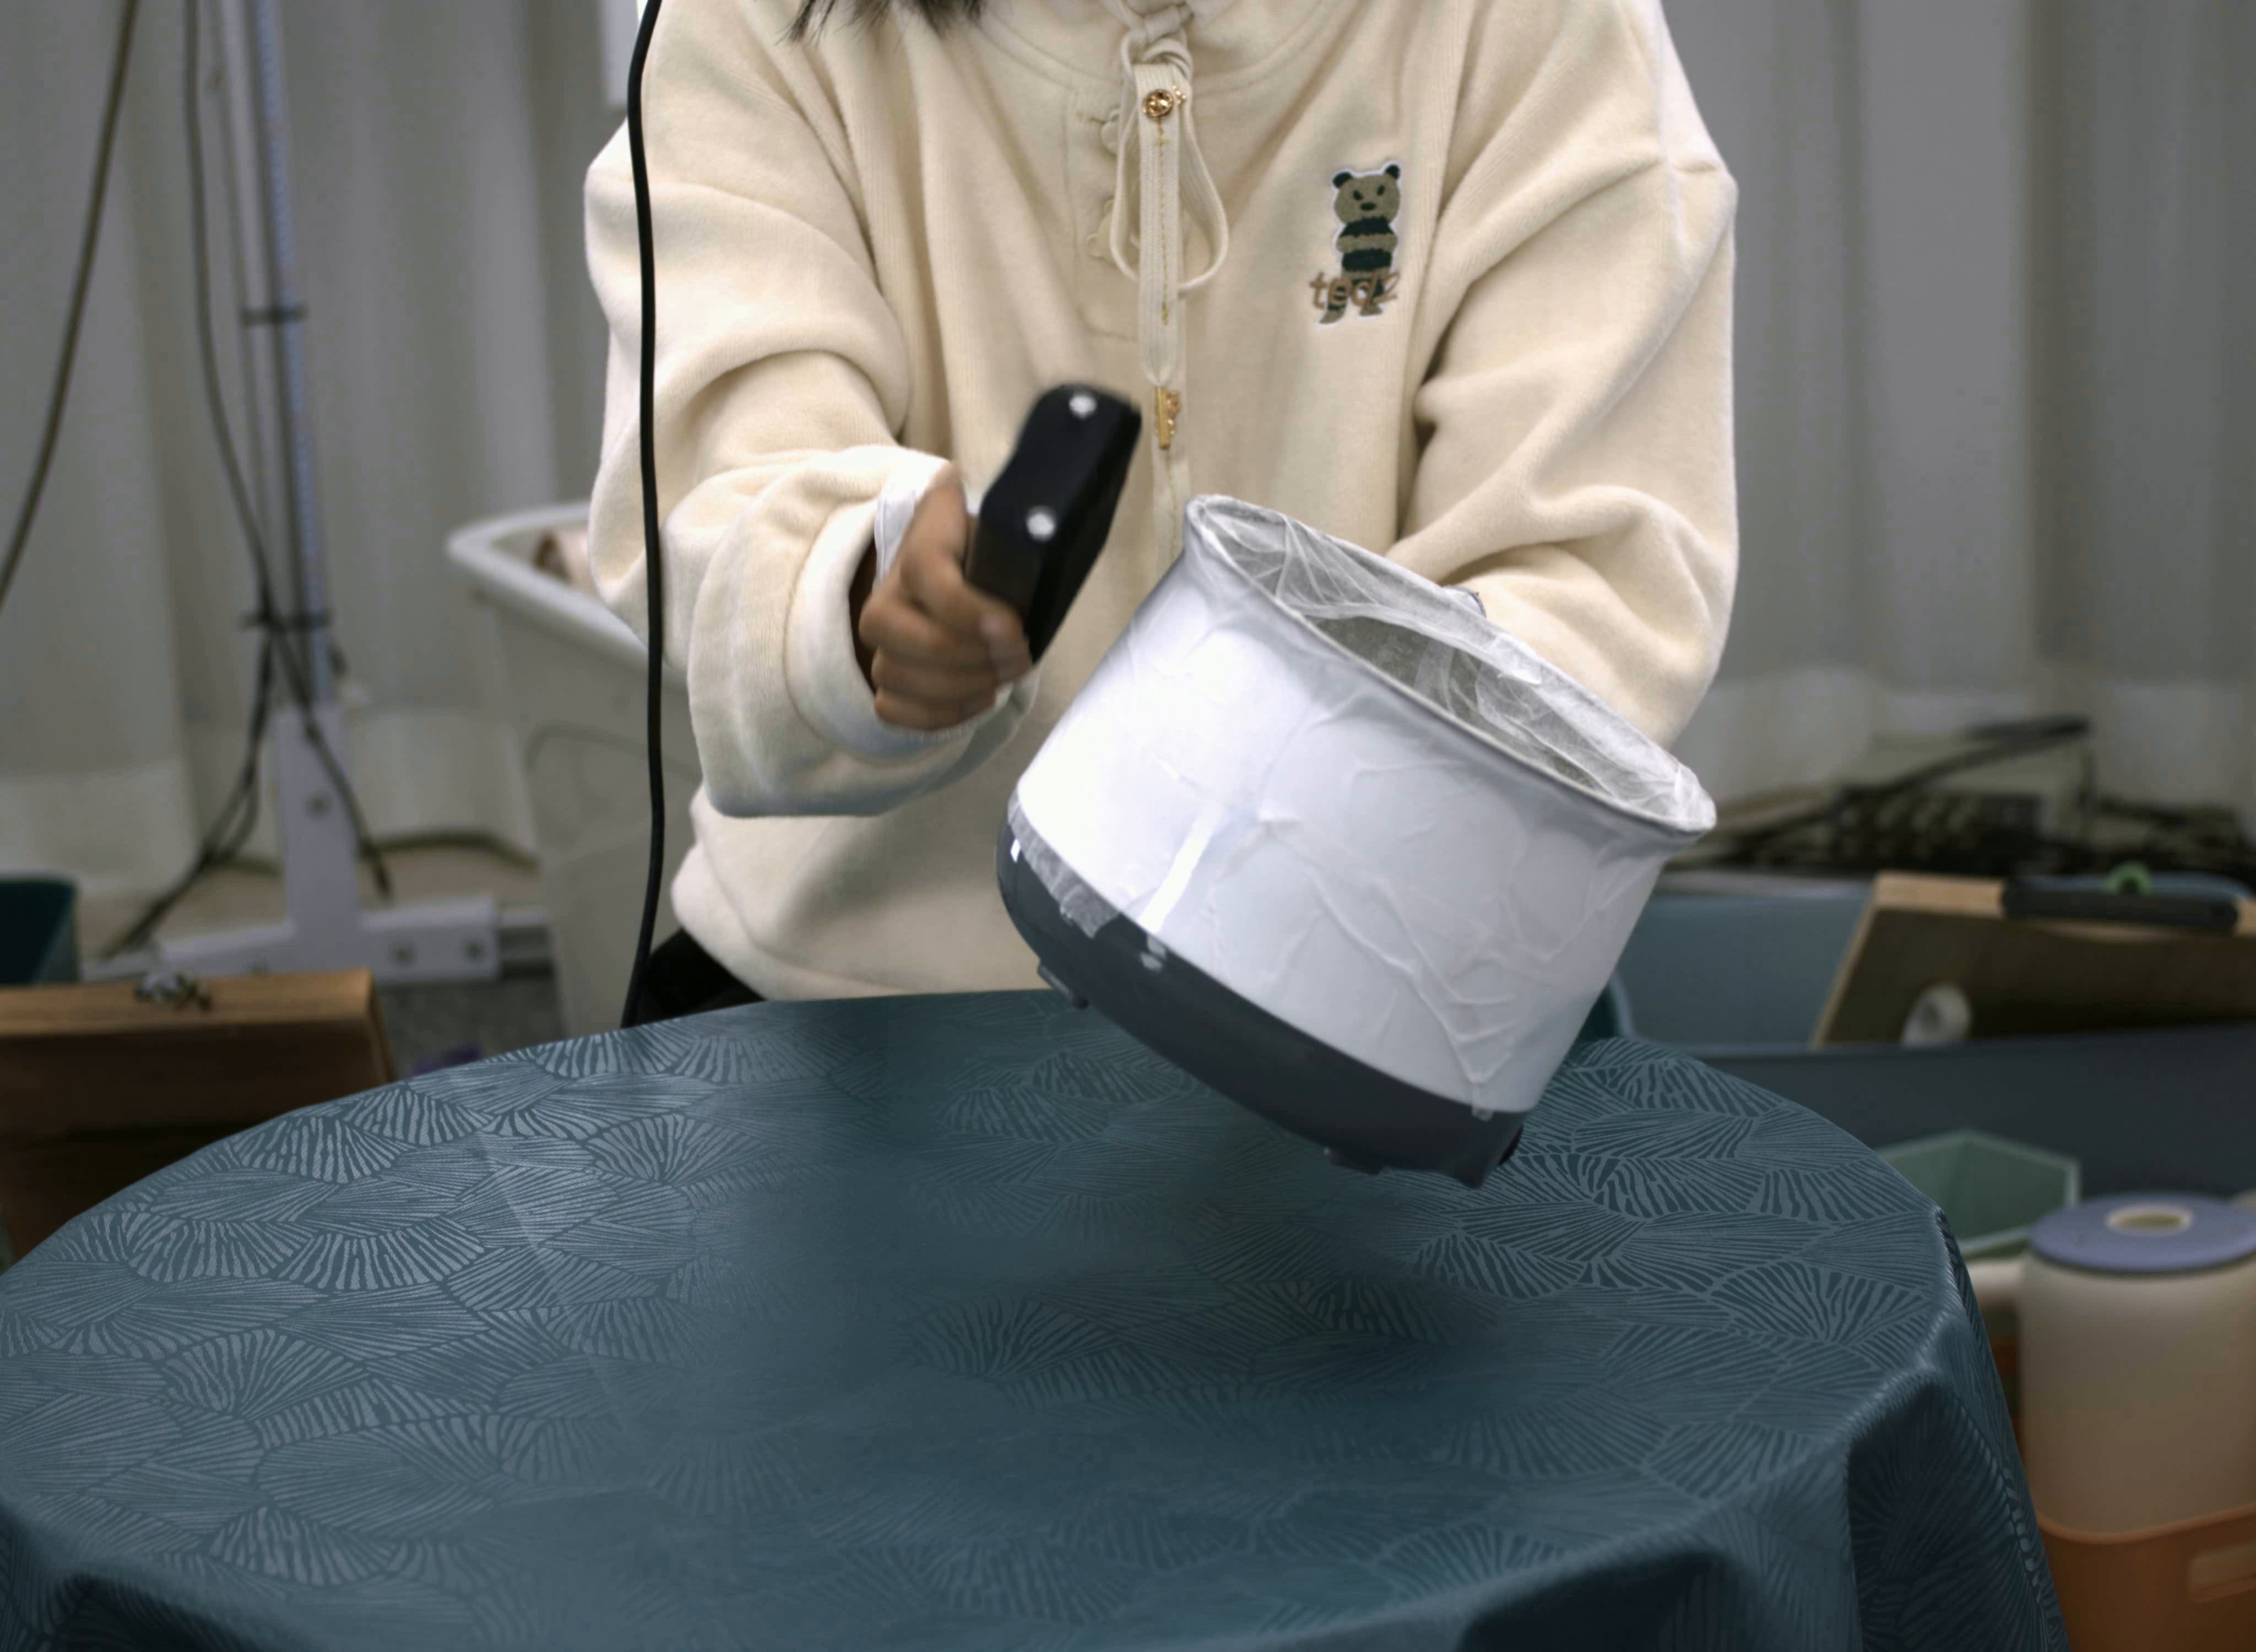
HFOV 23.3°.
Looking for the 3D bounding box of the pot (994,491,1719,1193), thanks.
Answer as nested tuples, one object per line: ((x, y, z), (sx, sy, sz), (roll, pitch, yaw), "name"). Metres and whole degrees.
((0.062, -0.001, 1.594), (0.178, 0.136, 0.235), (31, 12, -2), "pot")

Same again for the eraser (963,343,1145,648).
((-0.022, -0.095, 1.591), (0.030, 0.054, 0.124), (28, -15, 4), "eraser")
